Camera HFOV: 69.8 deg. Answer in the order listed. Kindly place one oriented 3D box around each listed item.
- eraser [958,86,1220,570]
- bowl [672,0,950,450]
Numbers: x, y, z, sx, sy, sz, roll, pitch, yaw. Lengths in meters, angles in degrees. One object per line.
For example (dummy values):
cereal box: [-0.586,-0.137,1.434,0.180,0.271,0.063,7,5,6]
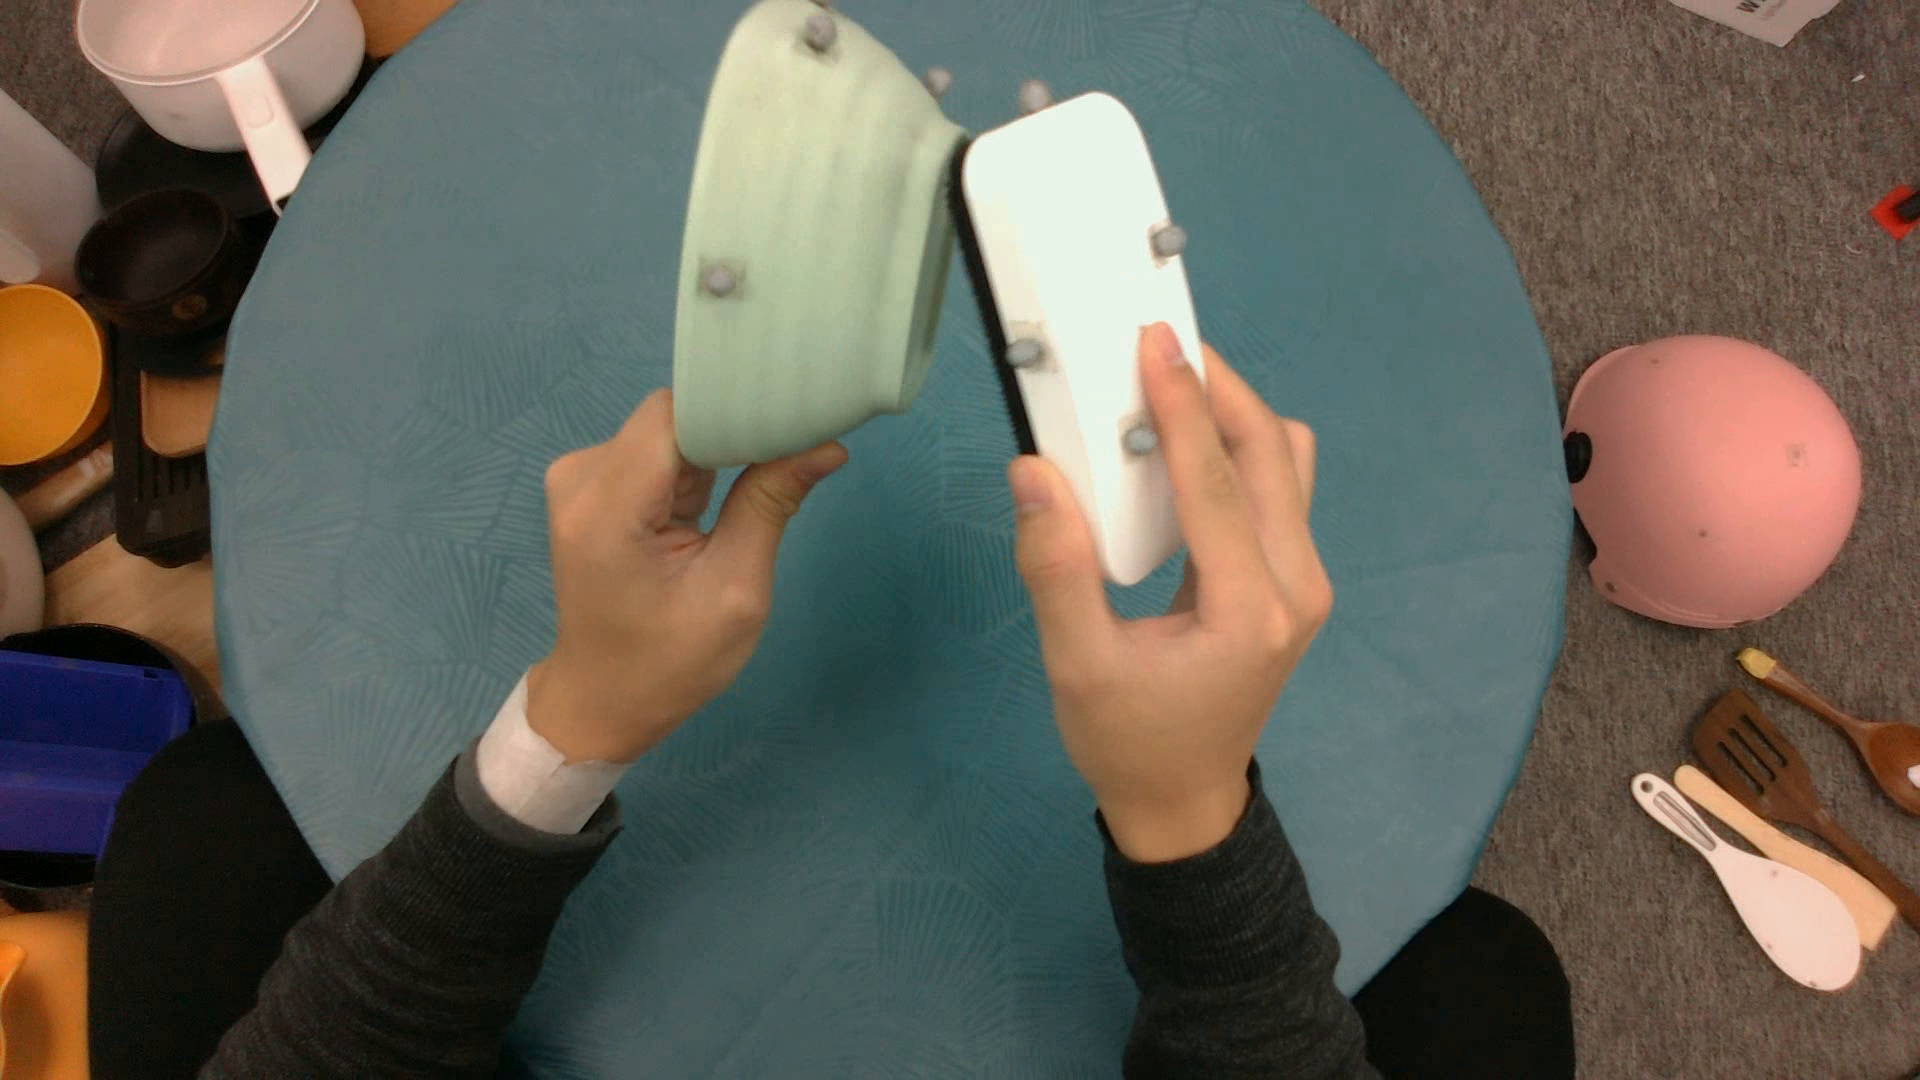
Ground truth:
eraser: [0.040,-0.058,0.391,0.064,0.034,0.131,-32,115,-42]
bowl: [-0.040,-0.092,0.418,0.058,0.151,0.152,11,76,-1]
